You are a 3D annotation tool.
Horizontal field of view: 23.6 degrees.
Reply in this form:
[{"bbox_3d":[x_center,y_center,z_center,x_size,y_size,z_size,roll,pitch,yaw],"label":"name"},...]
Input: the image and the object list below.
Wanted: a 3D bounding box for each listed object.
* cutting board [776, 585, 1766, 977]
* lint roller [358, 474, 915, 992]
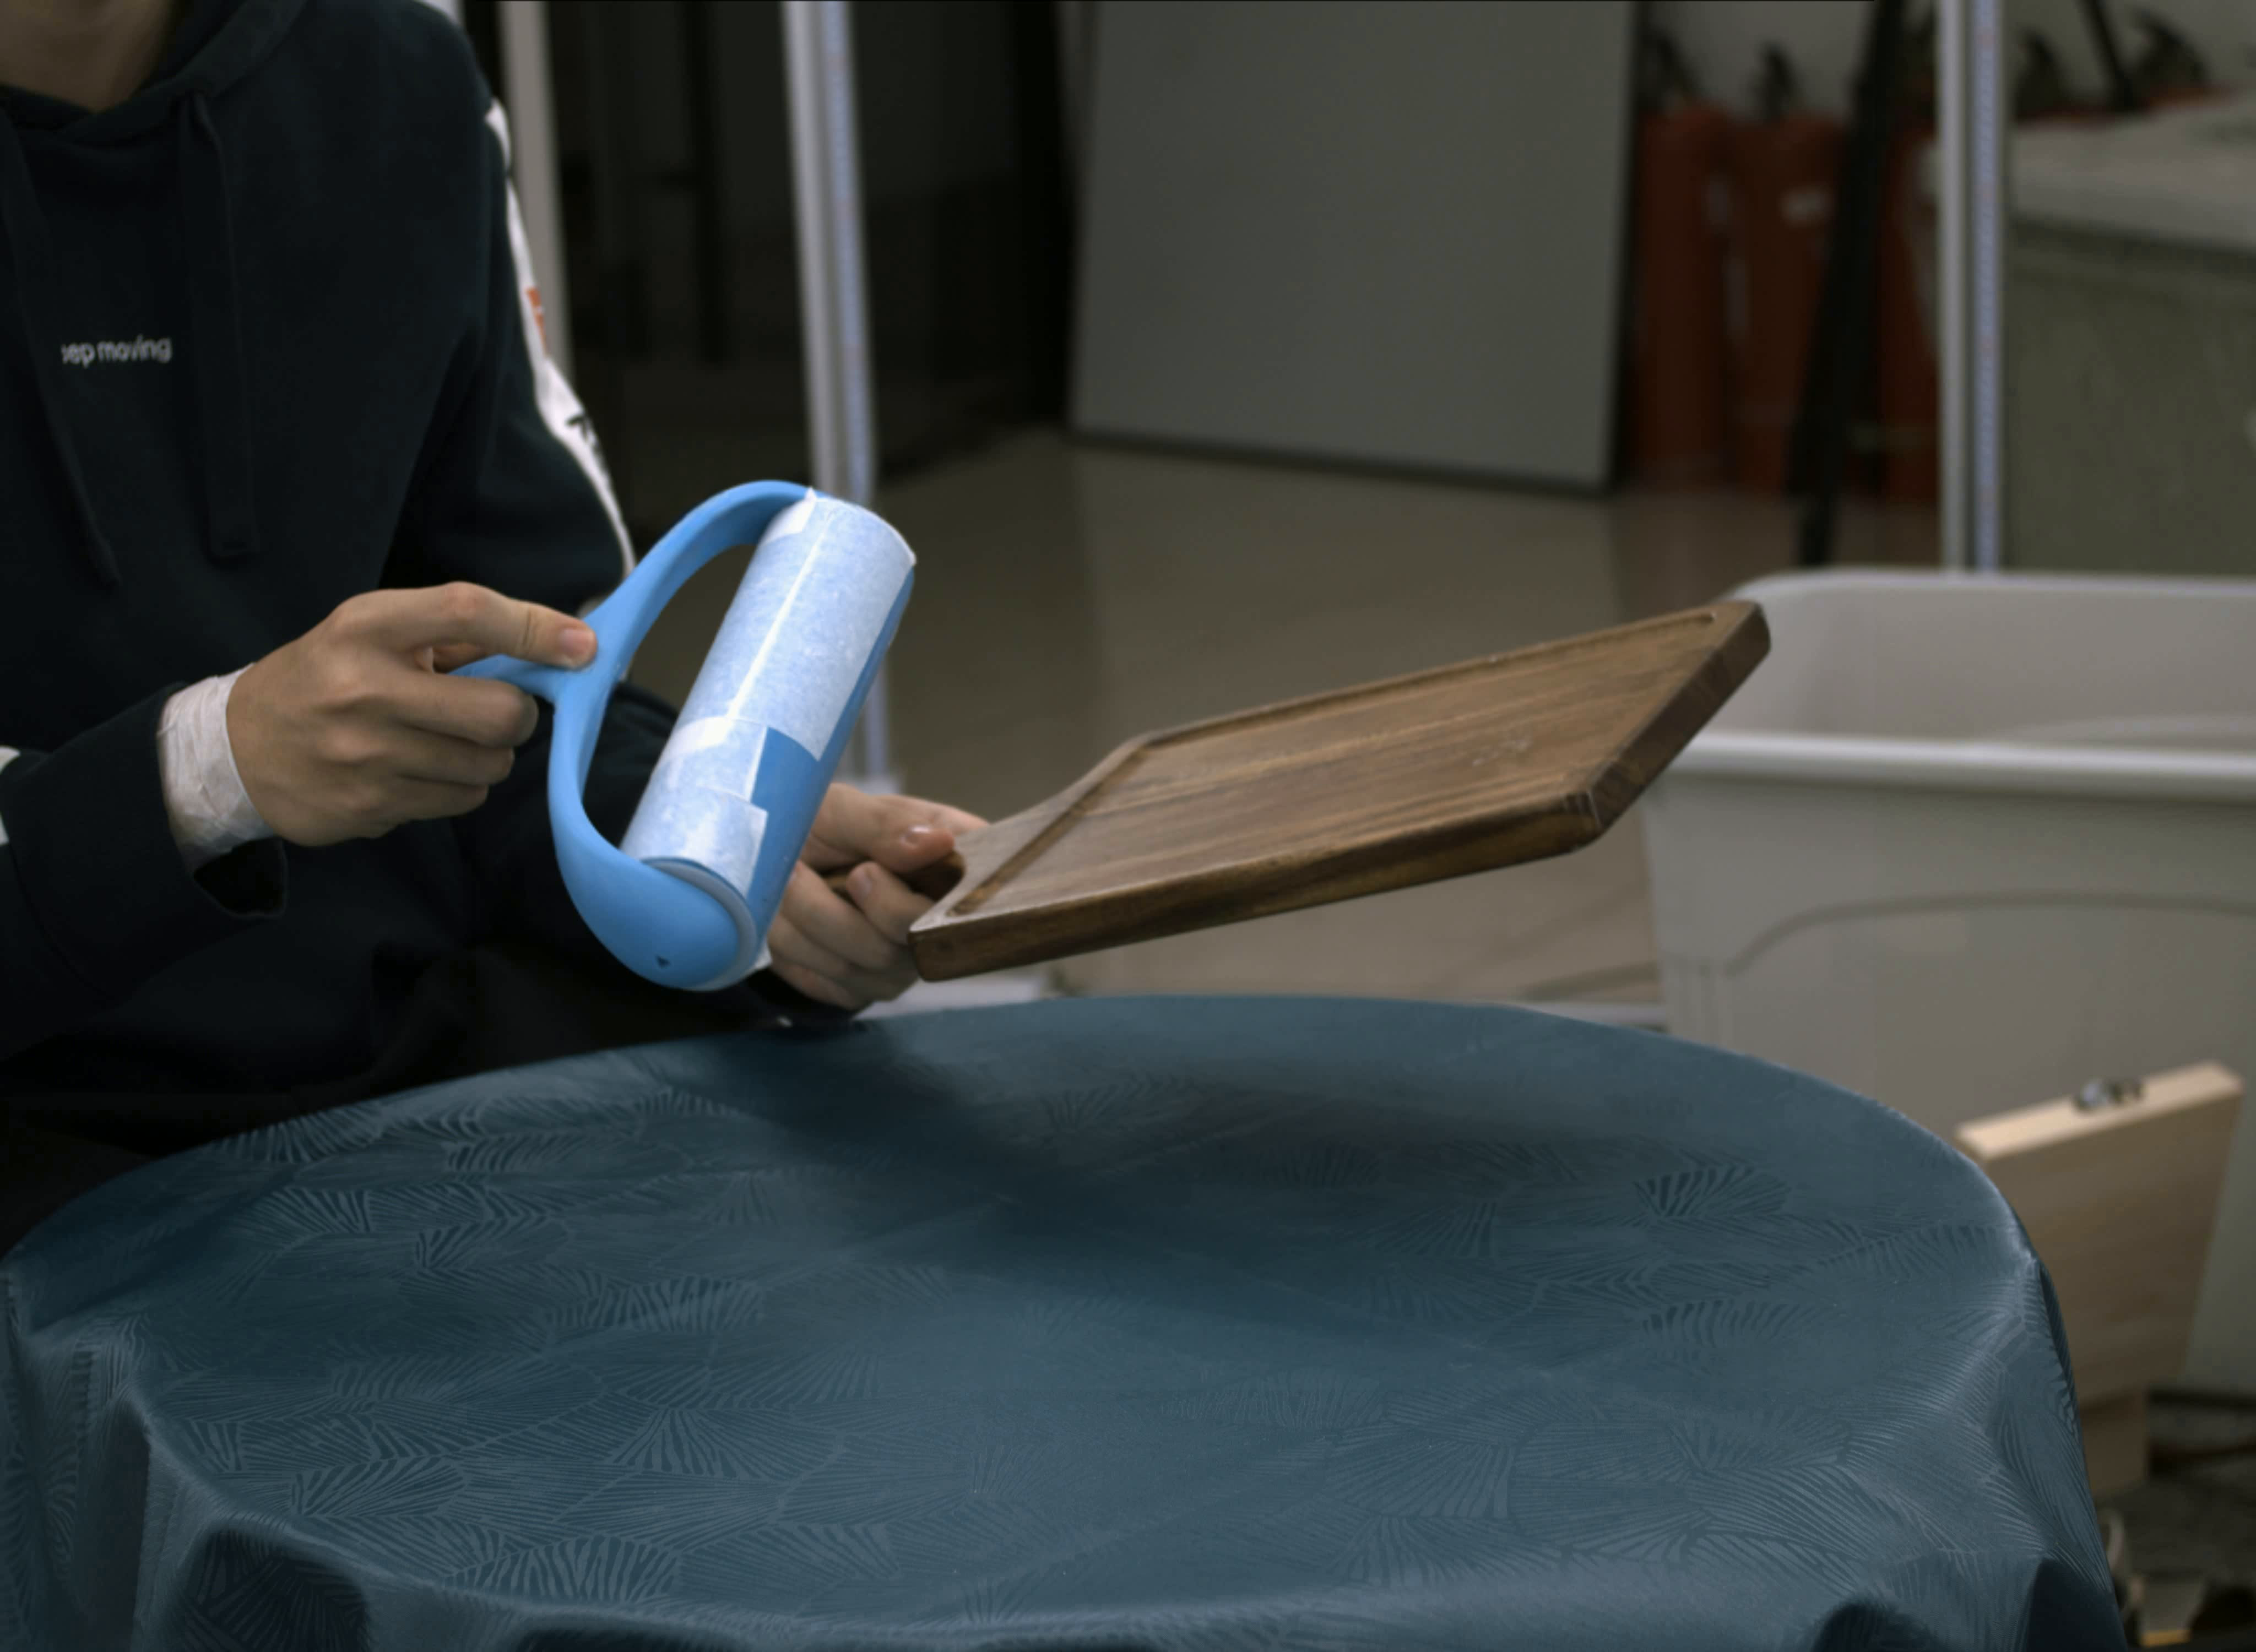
[{"bbox_3d":[0.029,-0.005,1.800,0.353,0.023,0.199,-14,13,29],"label":"cutting board"},{"bbox_3d":[-0.173,-0.030,1.762,0.179,0.068,0.229,-1,41,13],"label":"lint roller"}]
